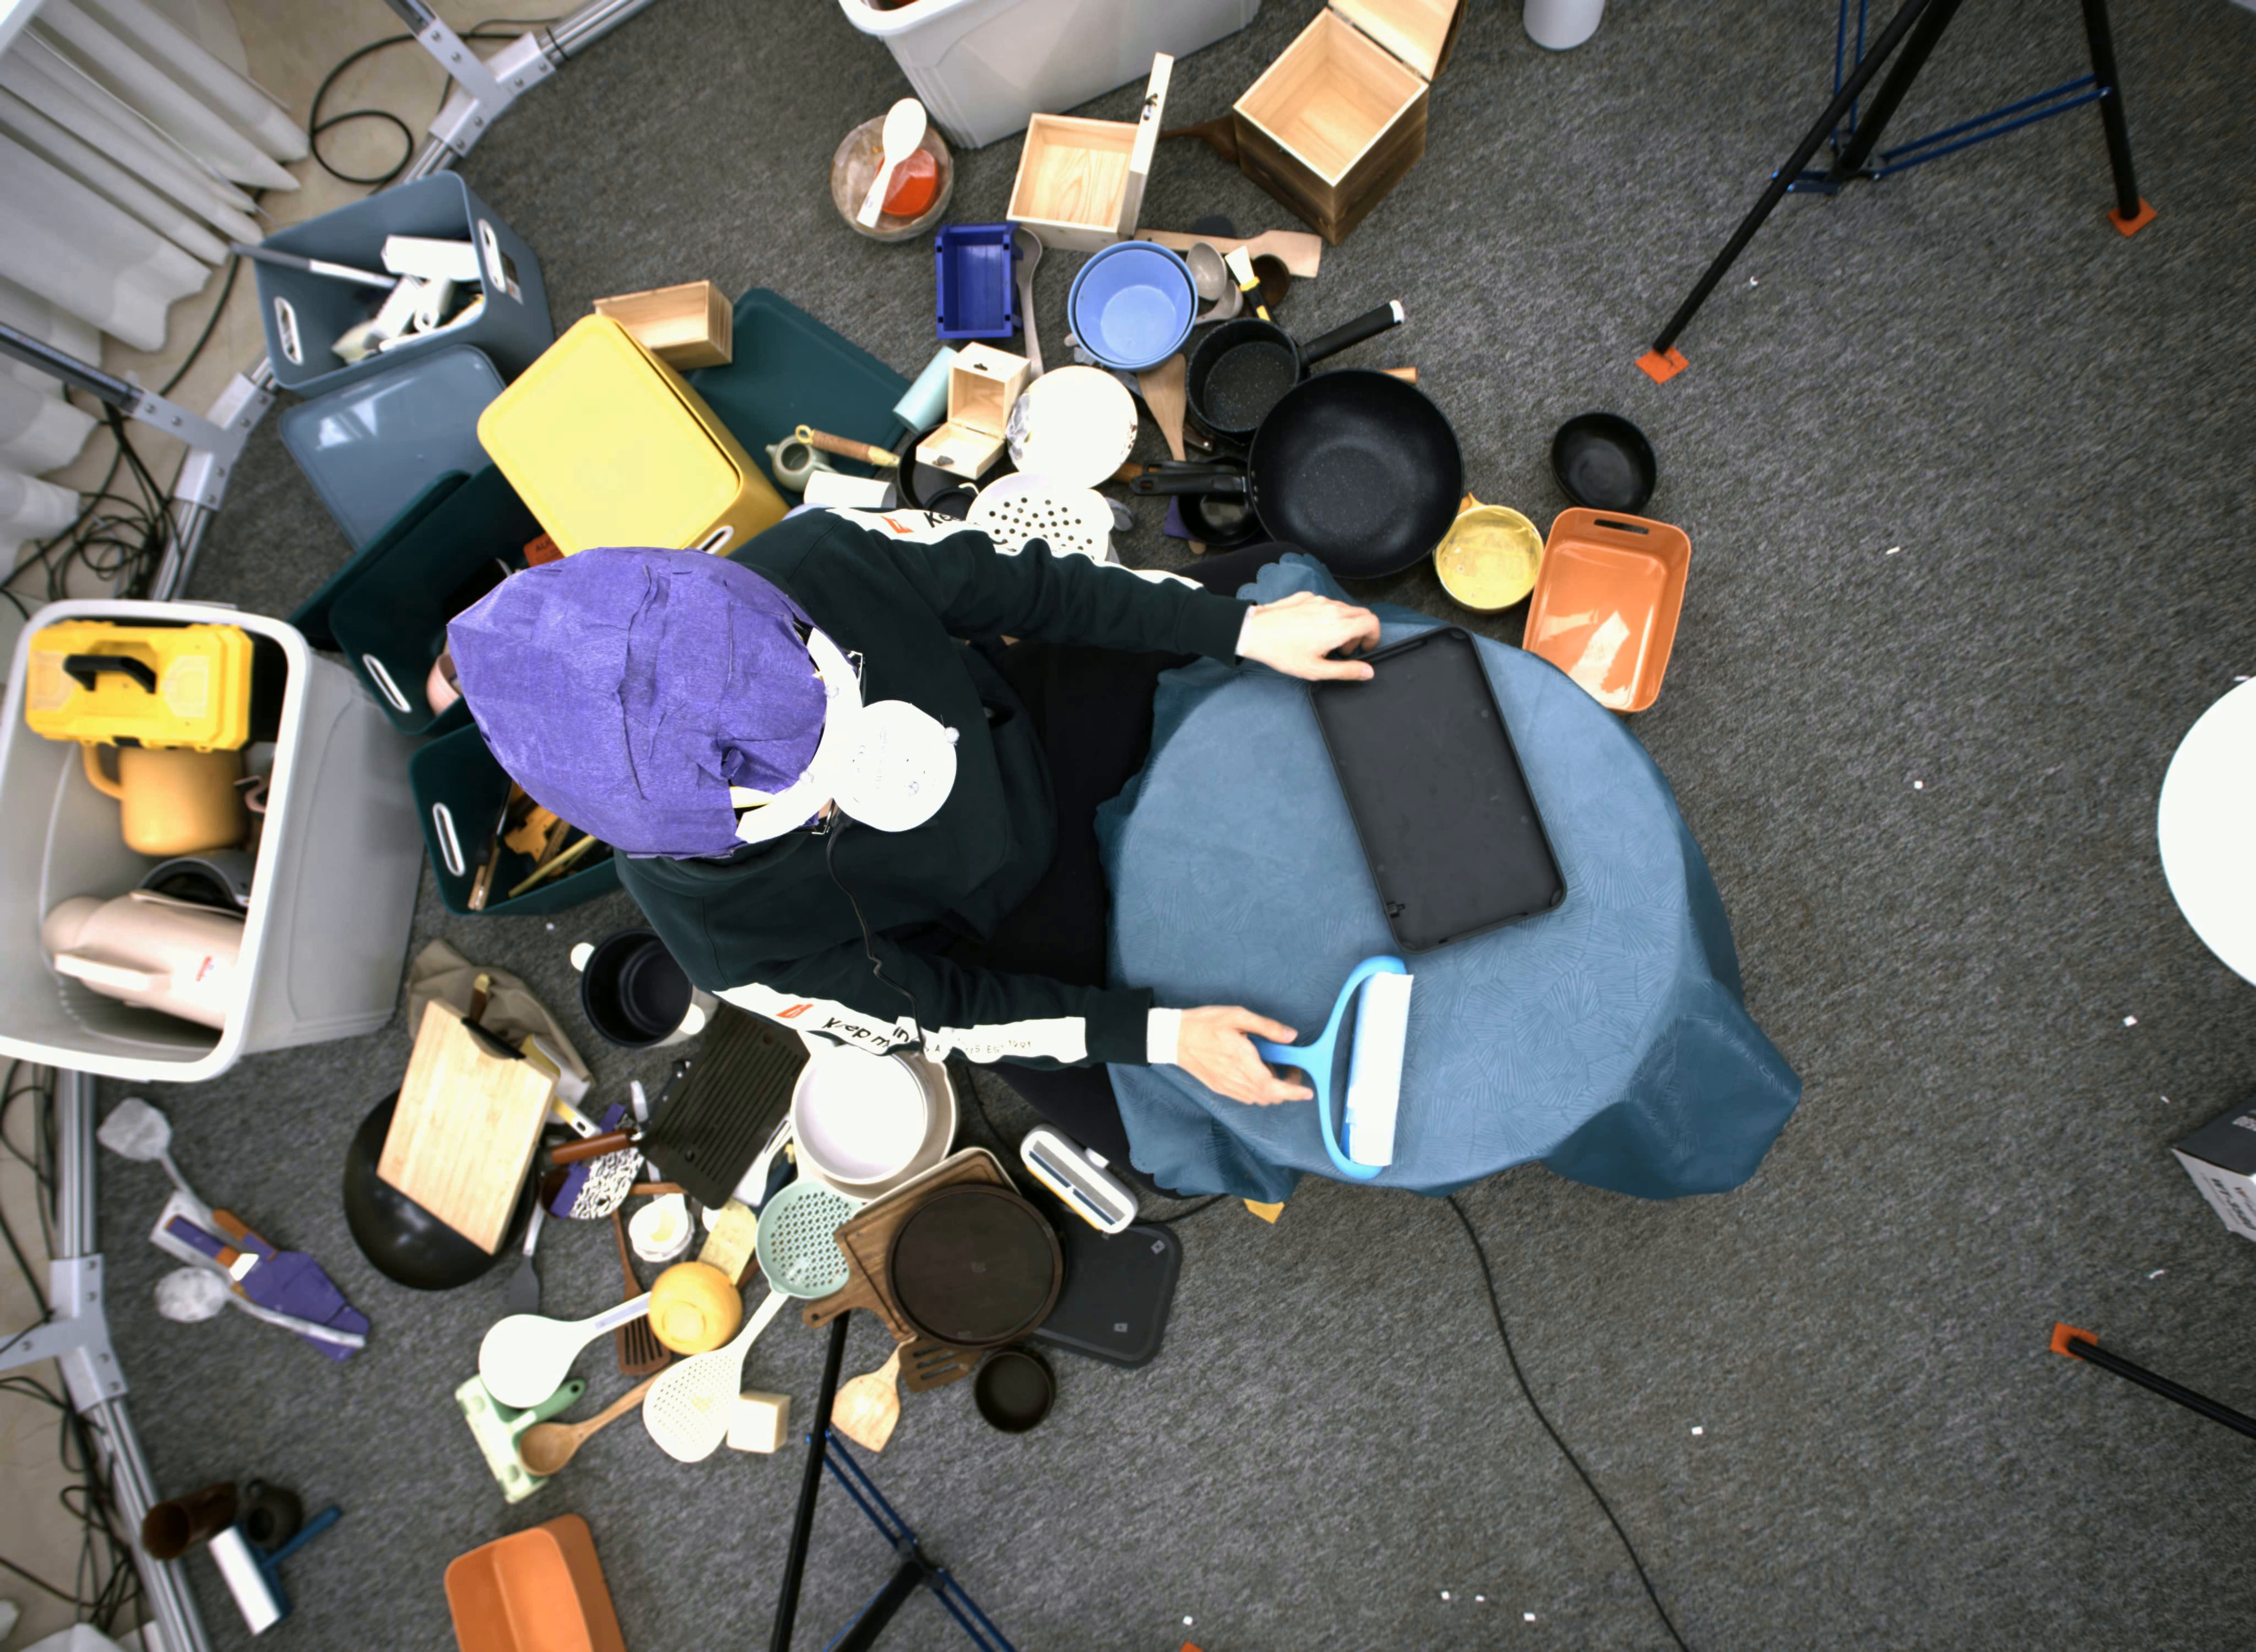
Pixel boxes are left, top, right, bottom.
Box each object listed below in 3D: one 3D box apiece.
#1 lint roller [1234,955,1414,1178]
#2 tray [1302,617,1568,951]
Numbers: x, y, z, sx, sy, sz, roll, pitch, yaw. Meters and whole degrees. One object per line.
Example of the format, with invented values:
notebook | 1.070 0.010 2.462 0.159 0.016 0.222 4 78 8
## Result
lint roller | 0.197 0.240 1.431 0.181 0.068 0.228 4 90 9
tray | 0.318 -0.045 1.435 0.185 0.037 0.316 -21 85 9
